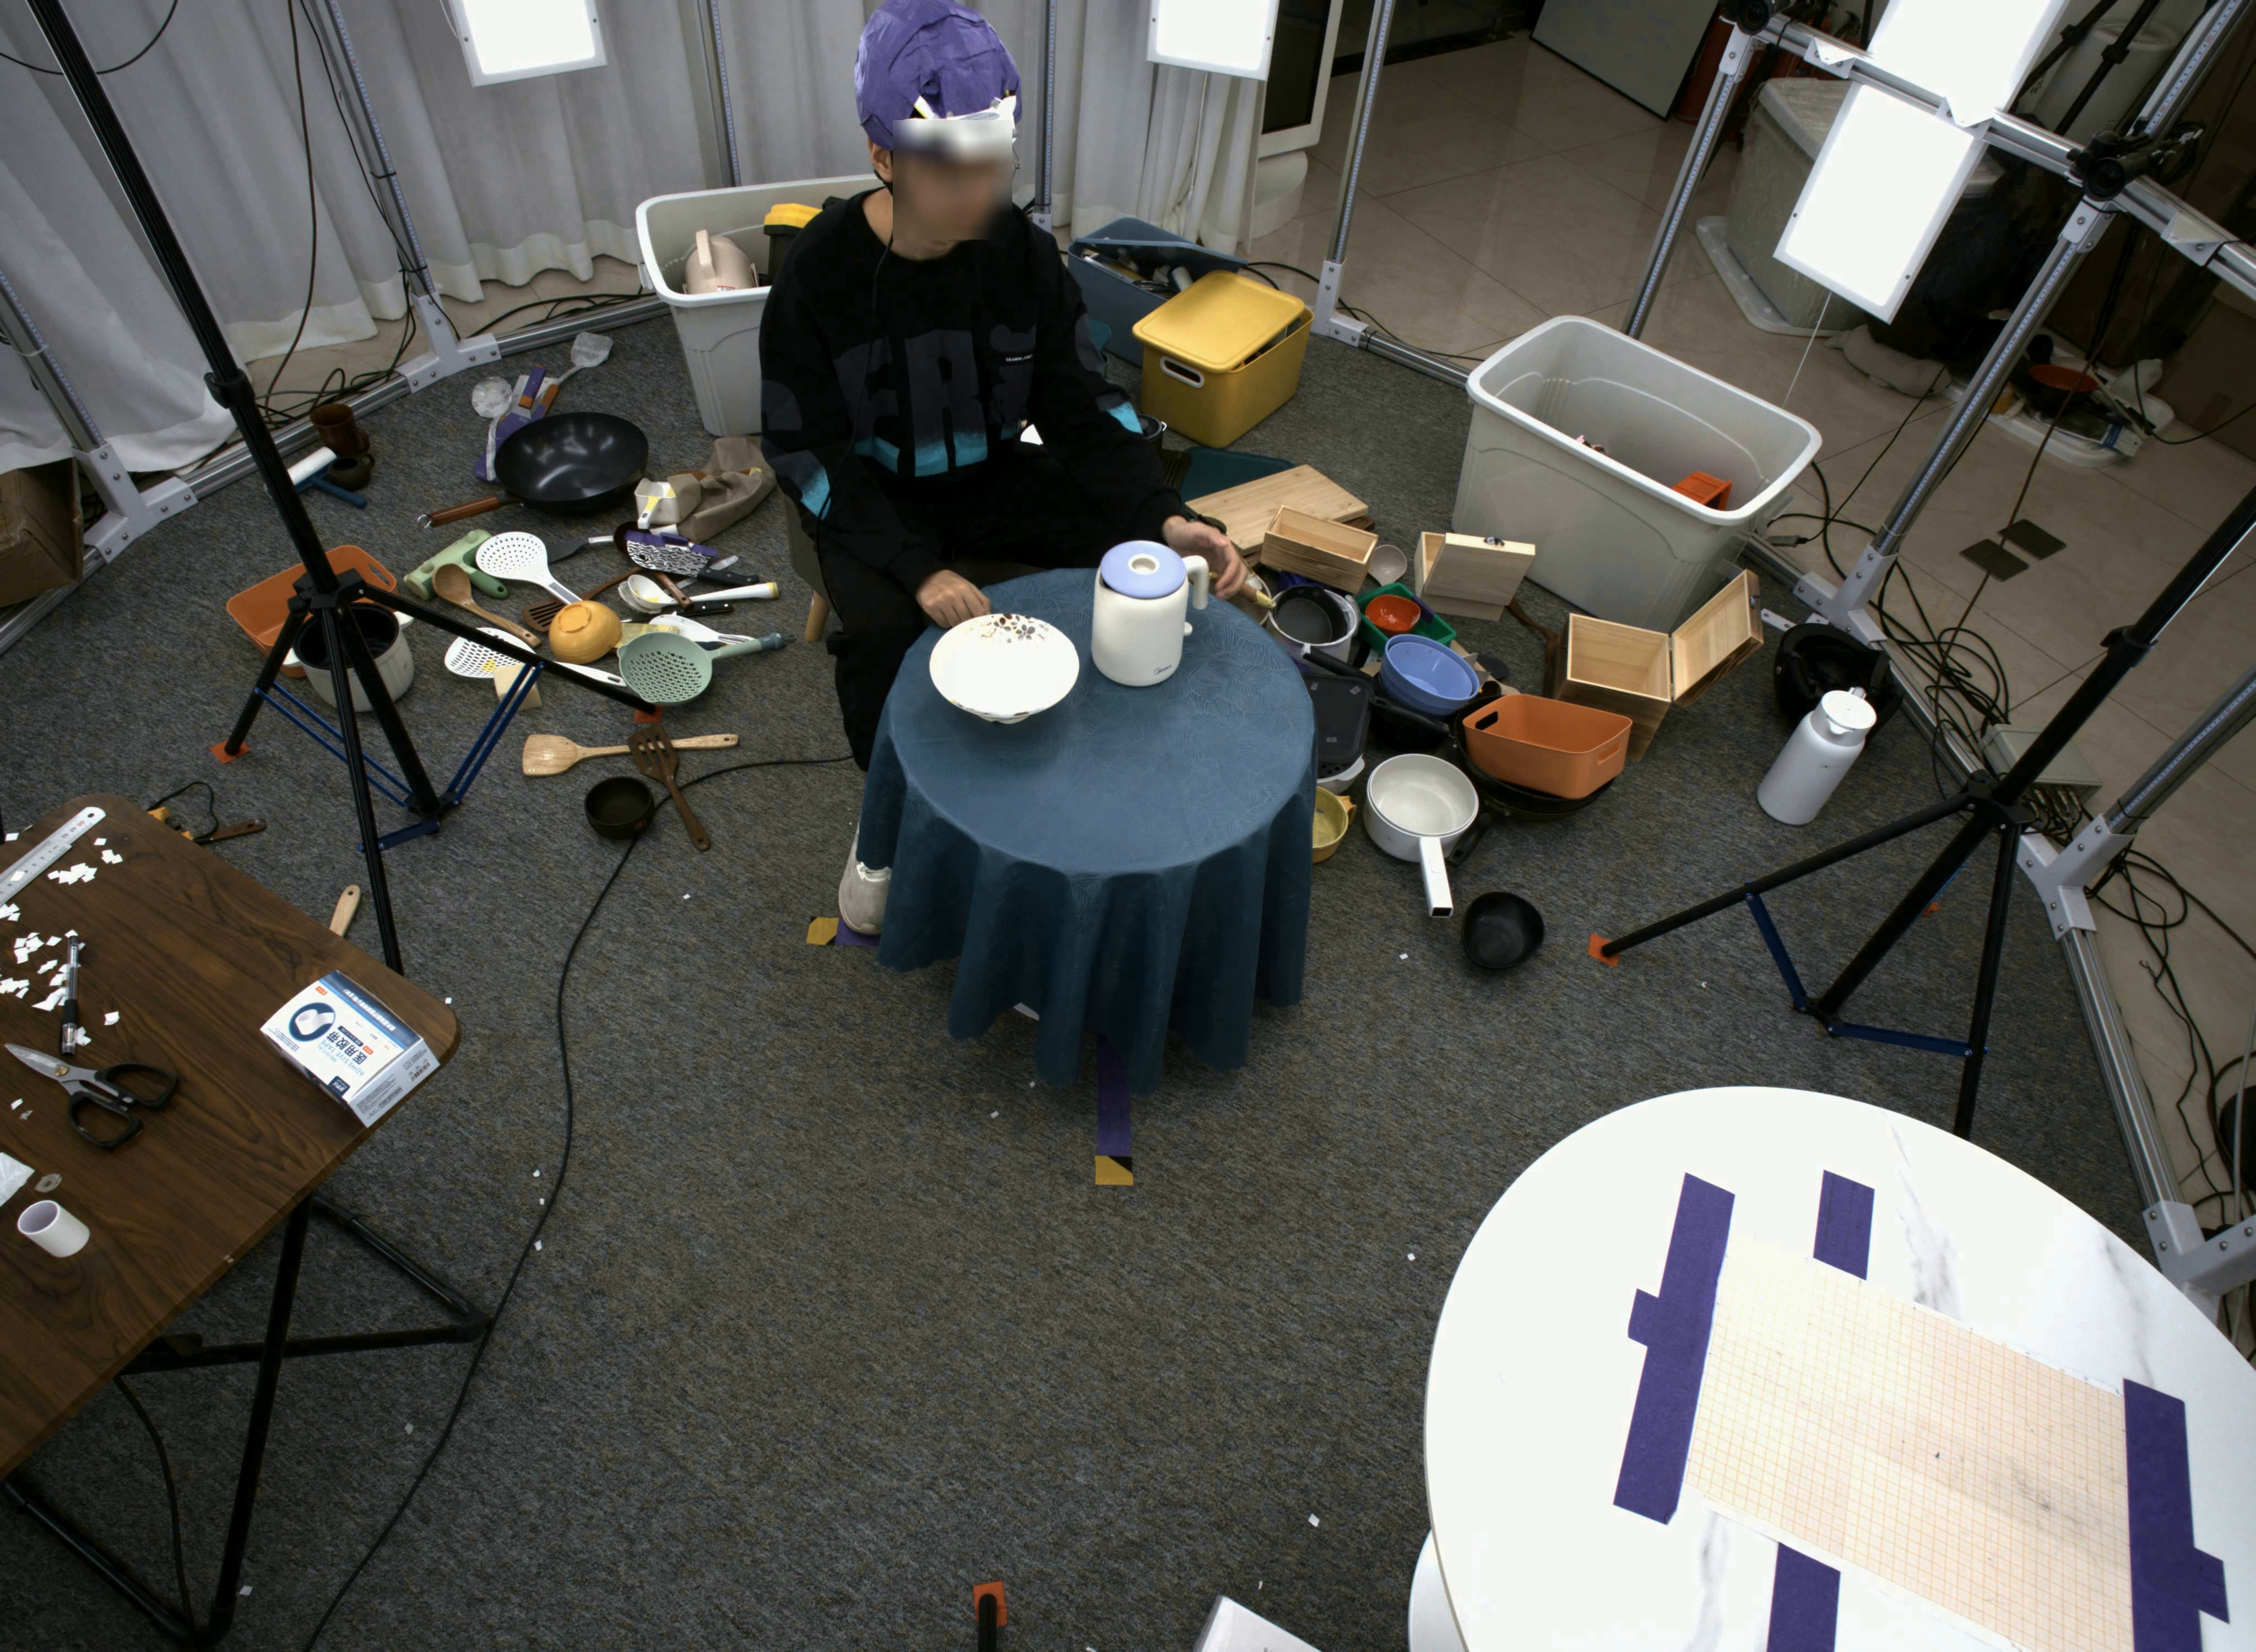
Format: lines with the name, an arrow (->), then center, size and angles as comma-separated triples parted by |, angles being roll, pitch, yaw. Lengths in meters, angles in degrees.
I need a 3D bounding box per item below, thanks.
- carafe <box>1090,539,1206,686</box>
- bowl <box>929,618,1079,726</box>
carafe -> 0.035, -0.311, 1.830 | 0.192, 0.178, 0.135 | -26, 57, -26
bowl -> -0.169, -0.196, 1.779 | 0.204, 0.076, 0.209 | 1, 47, -1
